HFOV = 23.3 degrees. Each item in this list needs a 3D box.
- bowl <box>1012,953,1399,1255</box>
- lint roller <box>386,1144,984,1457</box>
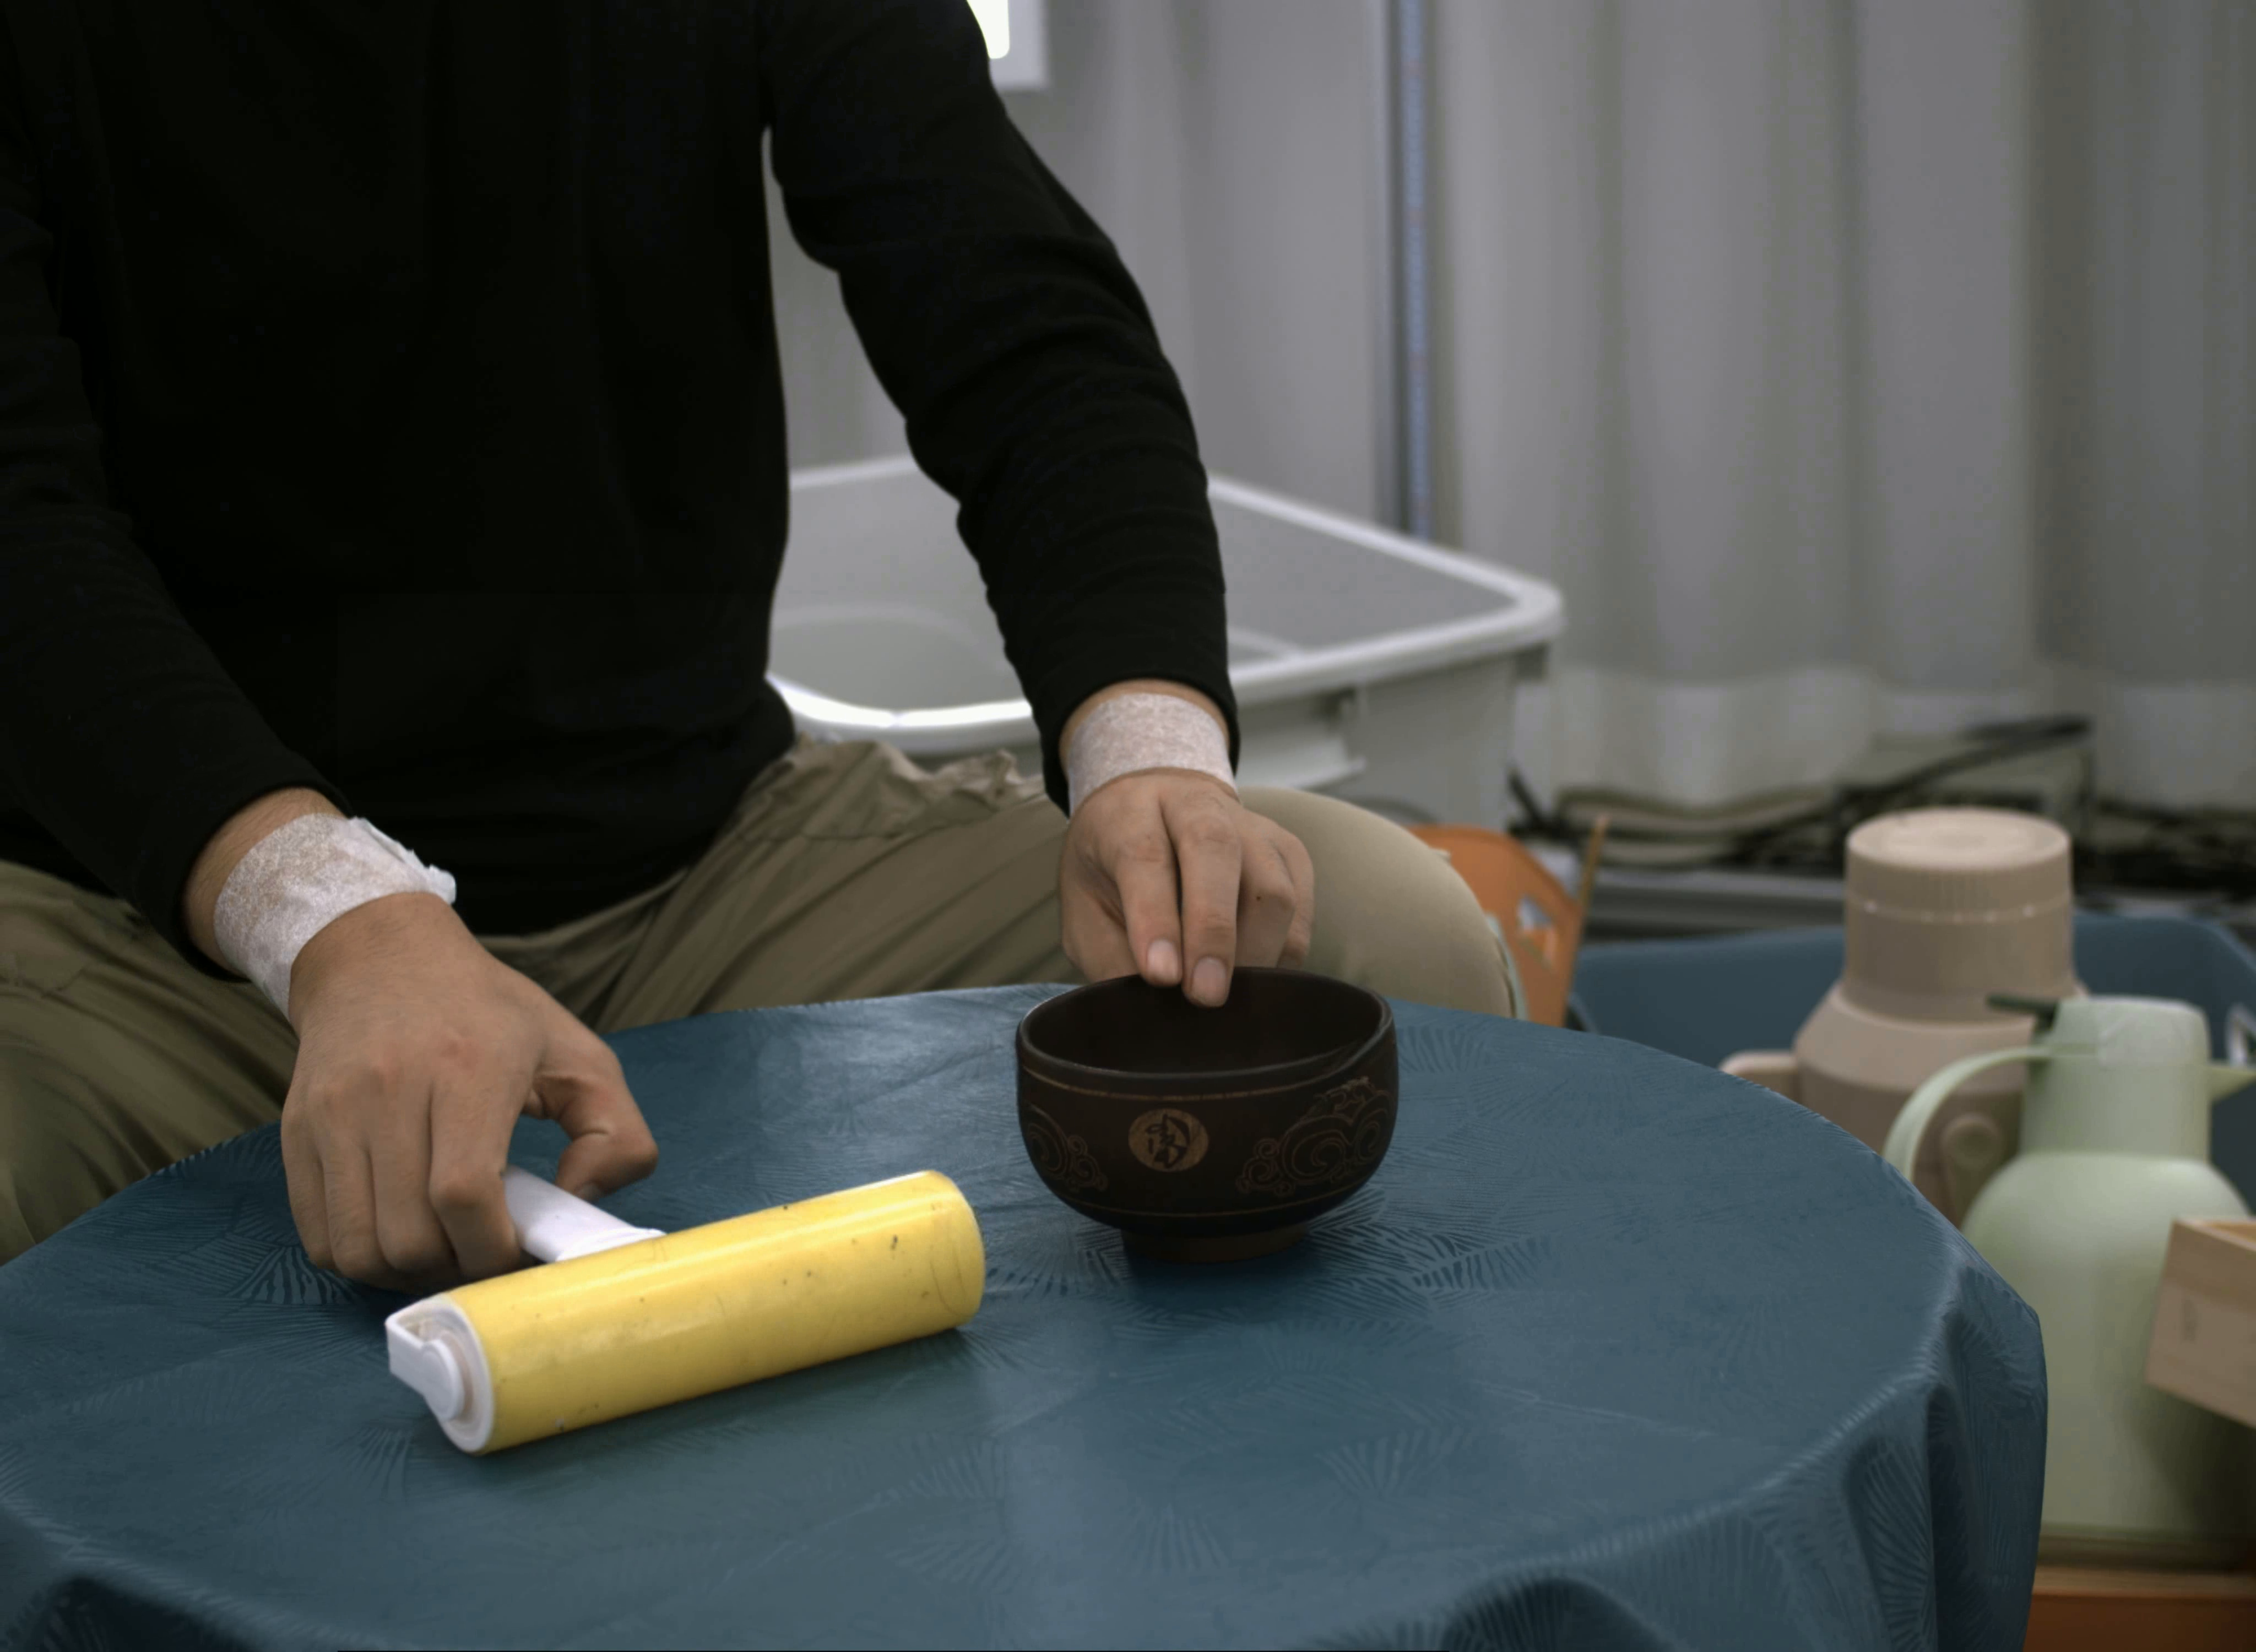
[{"bbox_3d":[0.024,0.088,1.663,0.117,0.069,0.119,-2,15,0],"label":"bowl"},{"bbox_3d":[-0.162,0.117,1.613,0.173,0.051,0.194,-13,27,-33],"label":"lint roller"}]
